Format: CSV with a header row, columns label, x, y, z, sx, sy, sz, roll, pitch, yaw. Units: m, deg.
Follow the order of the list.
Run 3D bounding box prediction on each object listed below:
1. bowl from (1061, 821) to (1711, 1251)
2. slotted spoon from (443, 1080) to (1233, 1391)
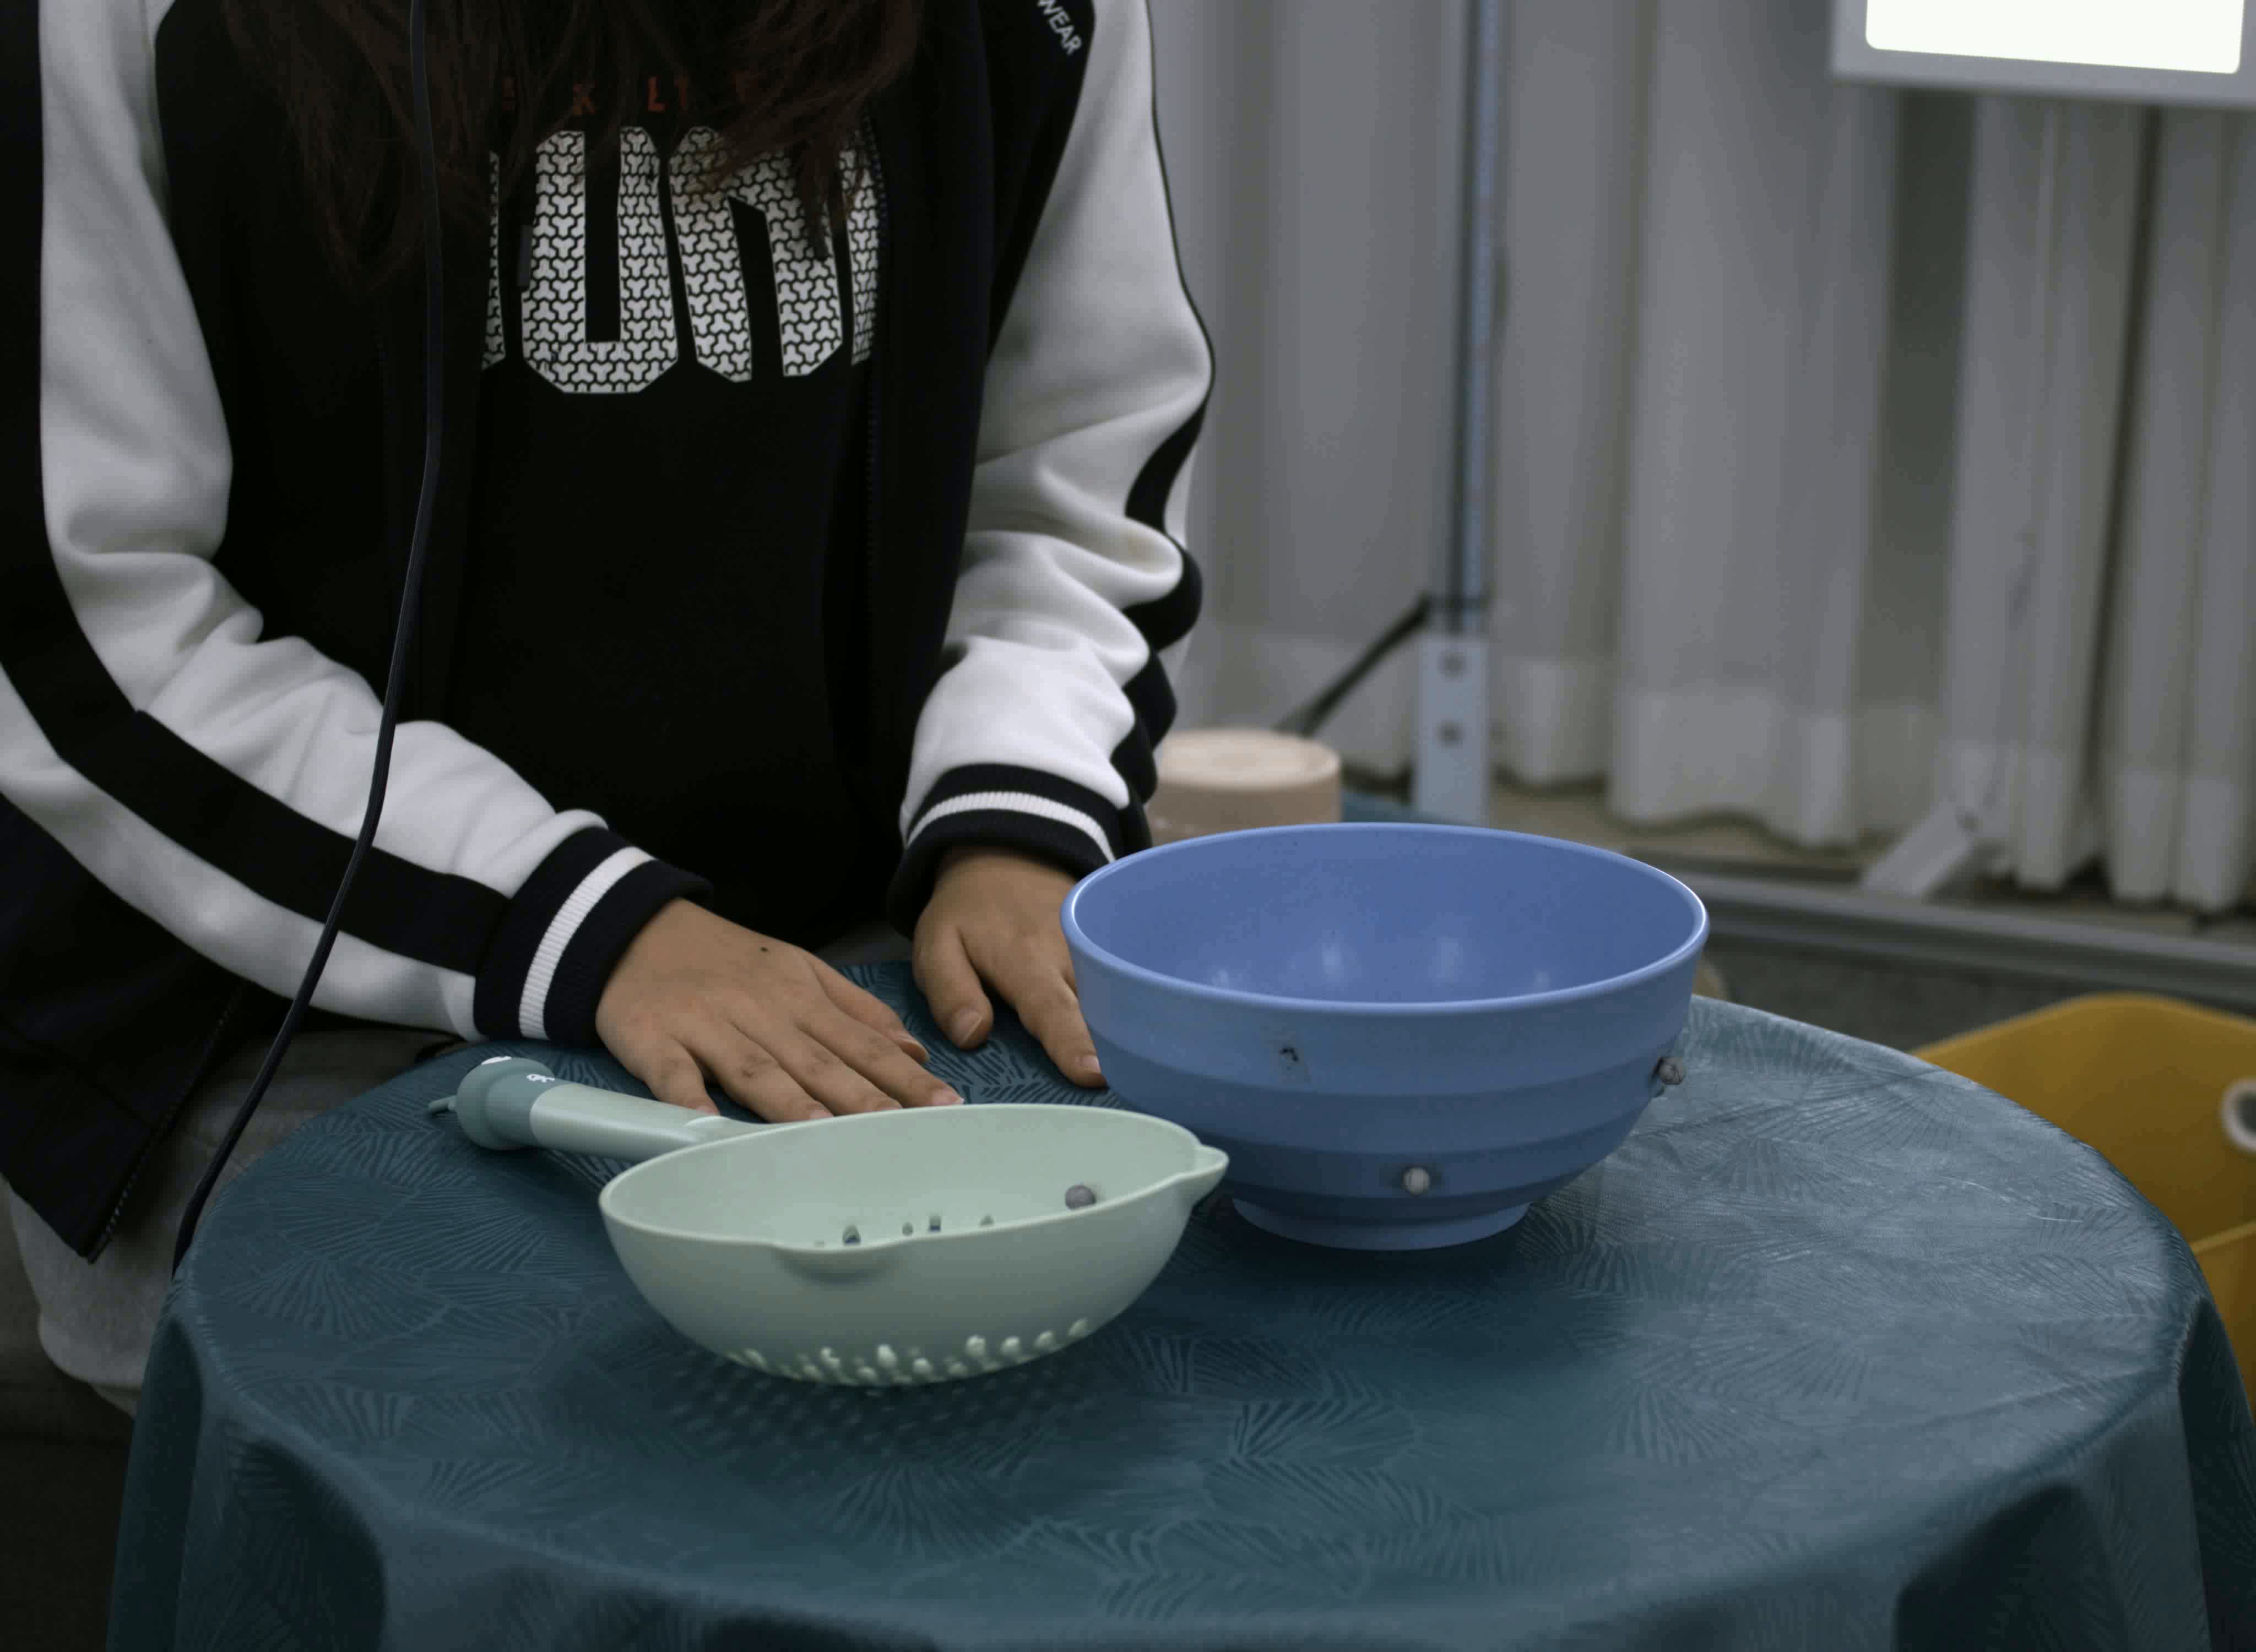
label,x,y,z,sx,sy,sz,roll,pitch,yaw
bowl,0.077,0.069,1.600,0.196,0.096,0.195,0,16,0
slotted spoon,-0.116,0.103,1.544,0.170,0.076,0.354,-9,16,-34
